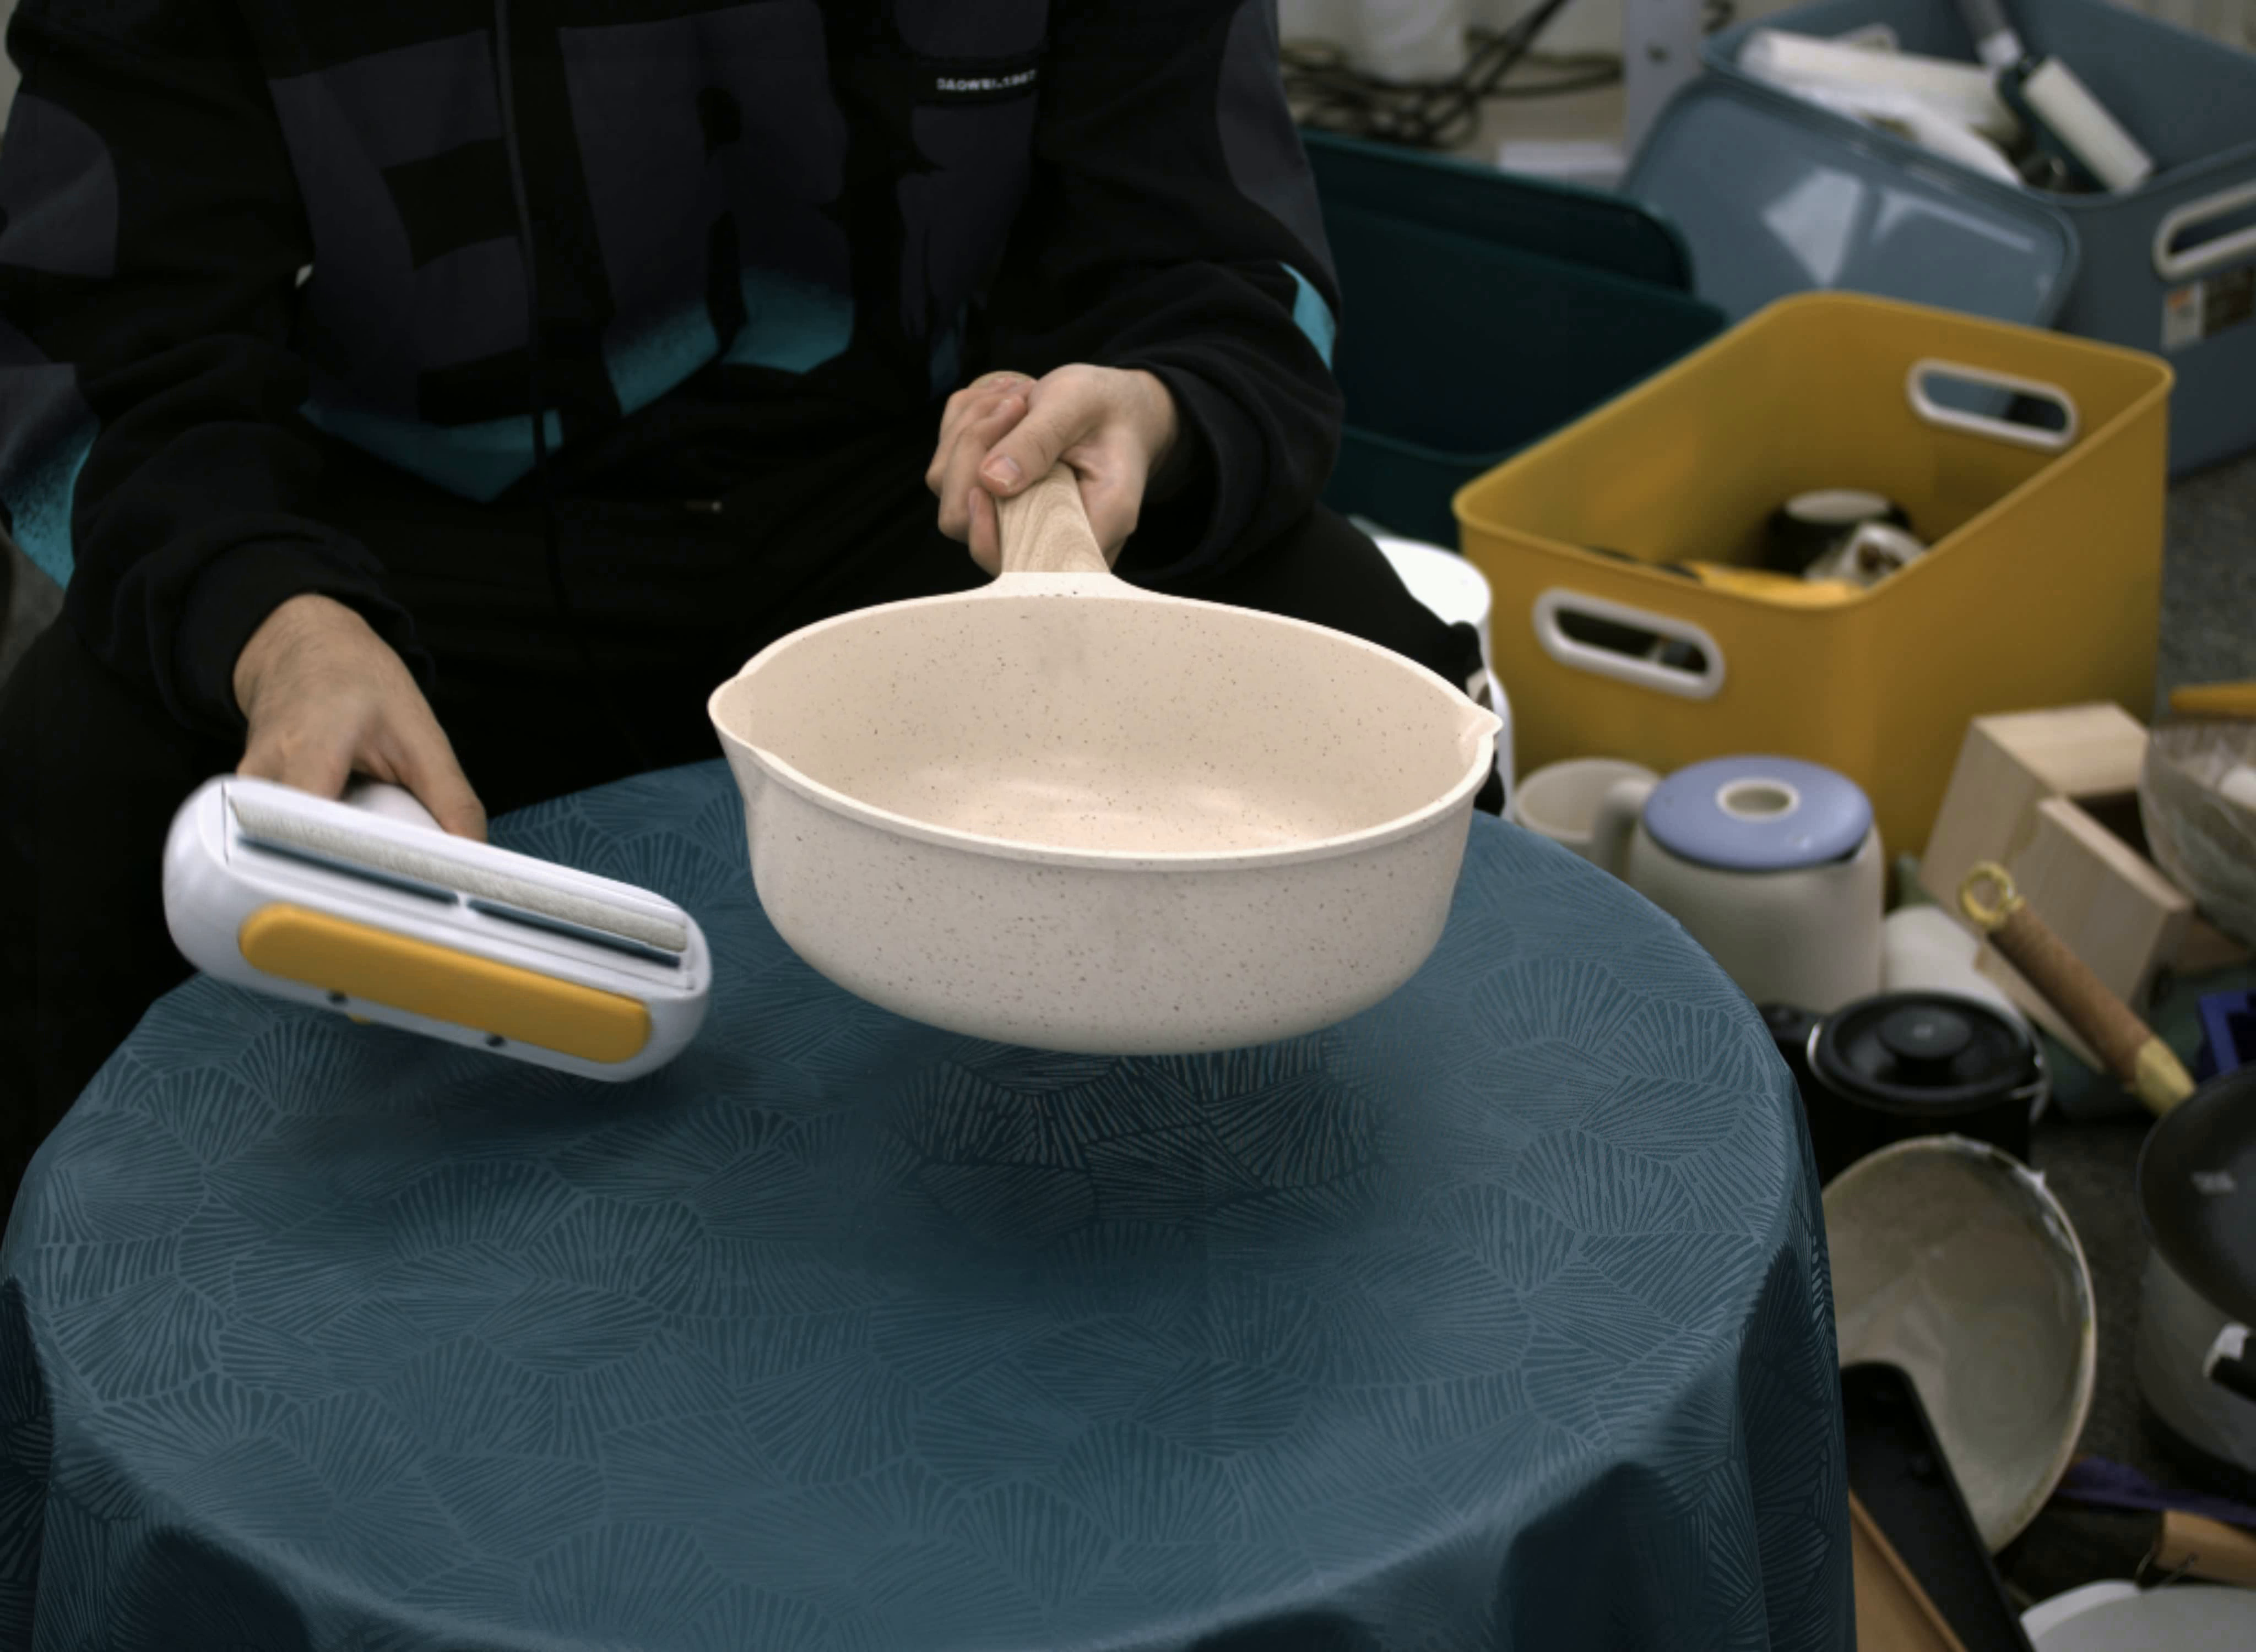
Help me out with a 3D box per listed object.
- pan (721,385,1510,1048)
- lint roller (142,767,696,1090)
[{"bbox_3d":[-0.017,-0.041,1.937,0.263,0.101,0.439,-1,21,-9],"label":"pan"},{"bbox_3d":[-0.251,0.016,1.950,0.192,0.073,0.195,13,25,-18],"label":"lint roller"}]
